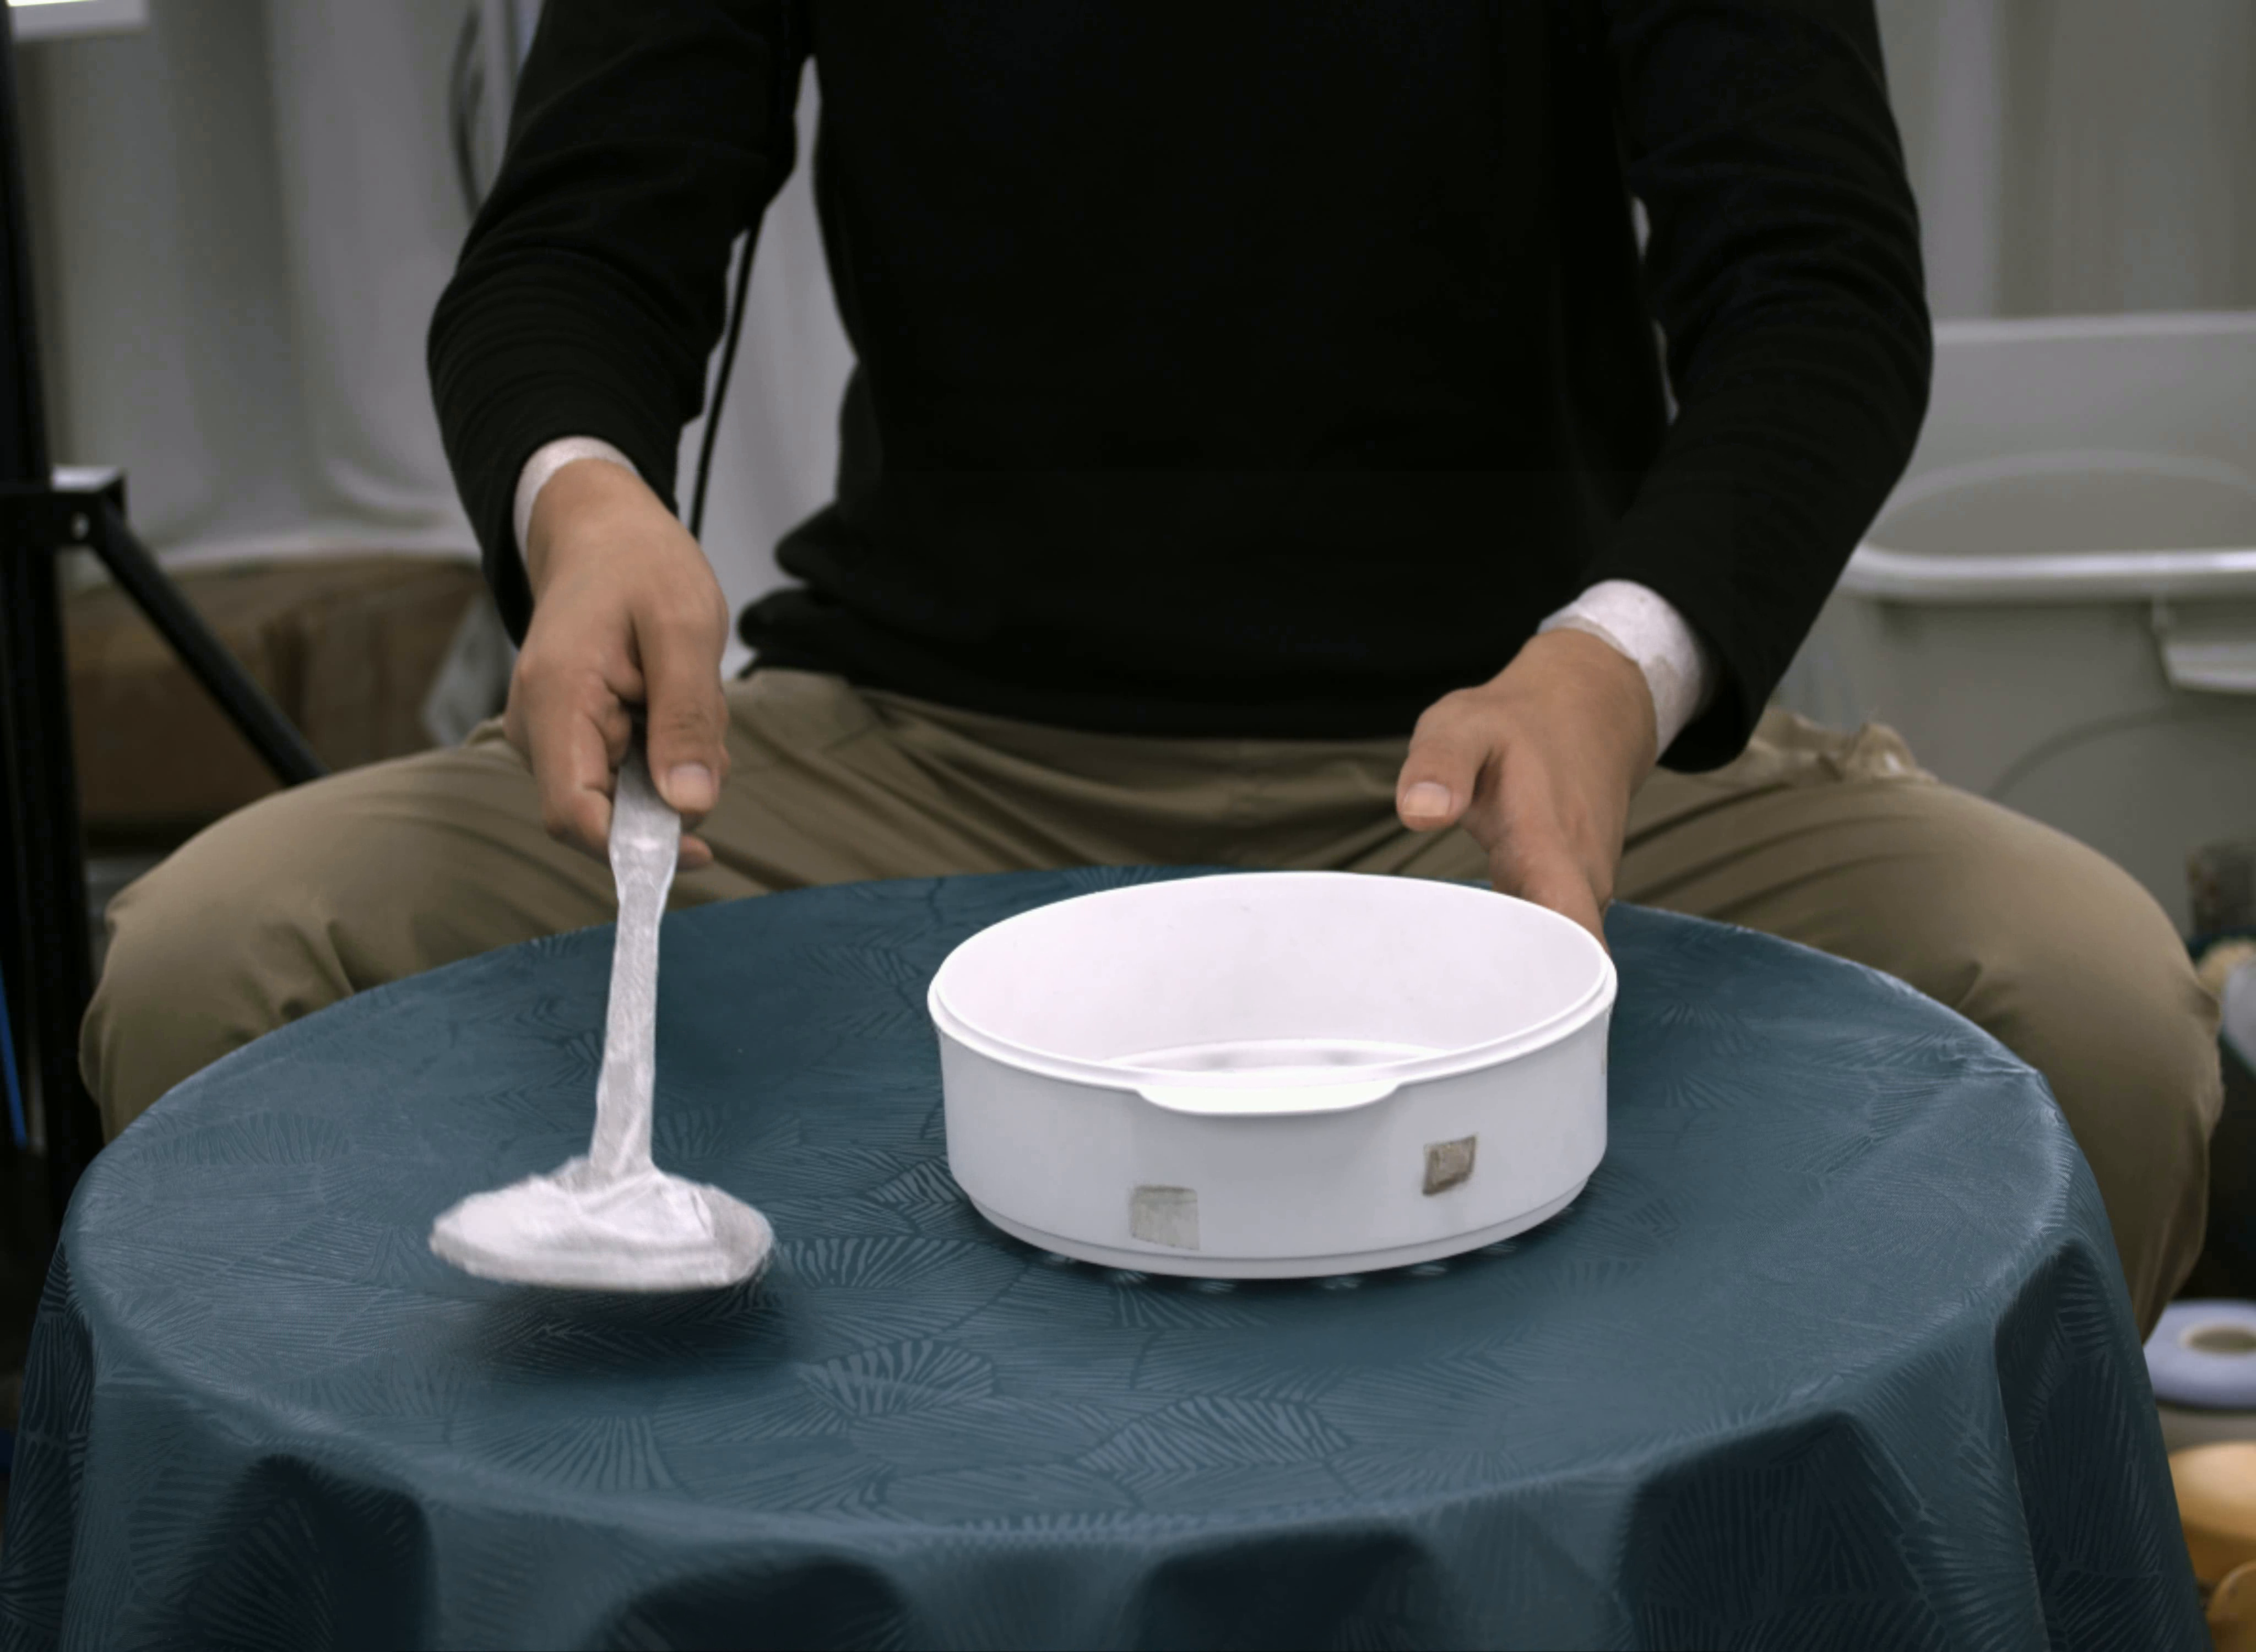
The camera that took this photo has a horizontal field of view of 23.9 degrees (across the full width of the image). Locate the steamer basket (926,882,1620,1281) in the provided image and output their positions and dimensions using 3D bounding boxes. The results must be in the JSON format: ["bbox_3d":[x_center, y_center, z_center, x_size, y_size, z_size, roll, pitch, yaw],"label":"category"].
[{"bbox_3d":[0.042,0.074,1.544,0.201,0.069,0.231,0,15,4],"label":"steamer basket"}]

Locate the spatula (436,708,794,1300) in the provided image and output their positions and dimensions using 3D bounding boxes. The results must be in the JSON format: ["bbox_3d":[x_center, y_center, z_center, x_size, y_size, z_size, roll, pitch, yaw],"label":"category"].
[{"bbox_3d":[-0.142,0.043,1.589,0.098,0.044,0.368,0,33,-1],"label":"spatula"}]
